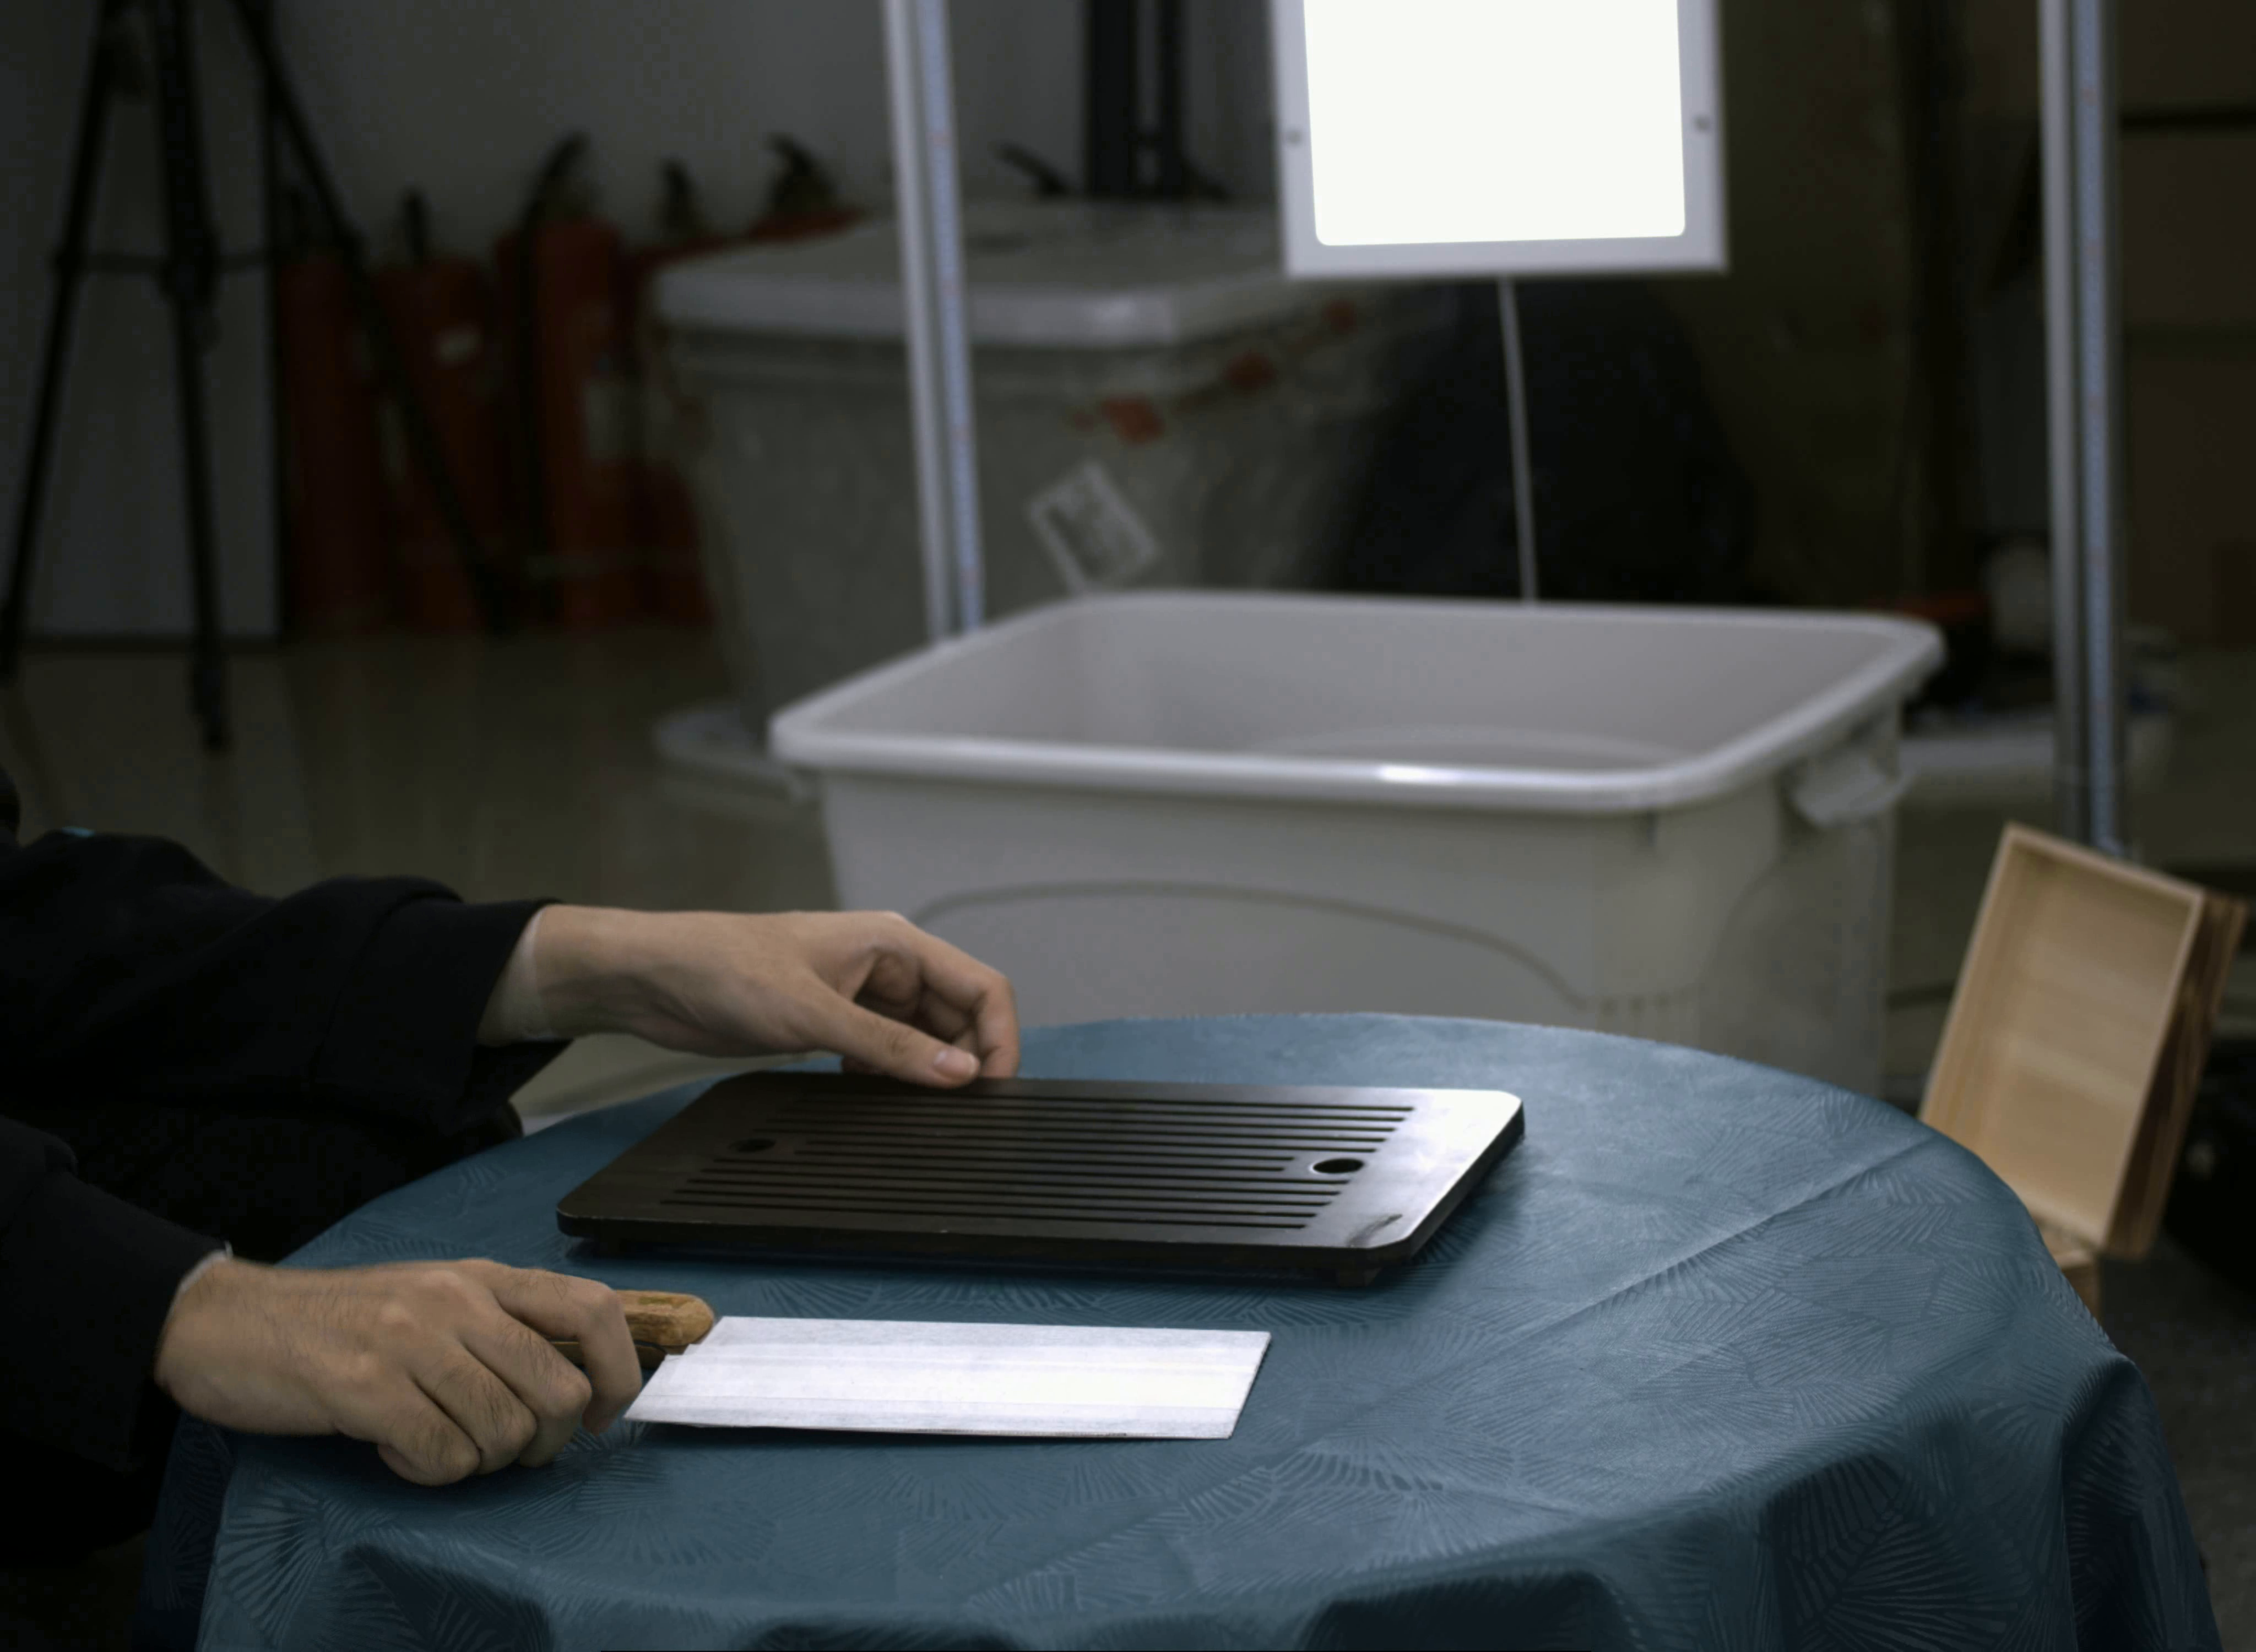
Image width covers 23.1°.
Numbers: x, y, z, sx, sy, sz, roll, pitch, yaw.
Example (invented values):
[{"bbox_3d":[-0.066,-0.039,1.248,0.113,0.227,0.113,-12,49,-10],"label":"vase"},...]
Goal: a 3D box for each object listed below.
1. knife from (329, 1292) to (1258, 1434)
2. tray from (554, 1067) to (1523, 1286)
[{"bbox_3d":[-0.111,0.170,1.728,0.308,0.021,0.092,0,16,12],"label":"knife"},{"bbox_3d":[-0.029,0.119,1.898,0.310,0.019,0.167,1,15,22],"label":"tray"}]
